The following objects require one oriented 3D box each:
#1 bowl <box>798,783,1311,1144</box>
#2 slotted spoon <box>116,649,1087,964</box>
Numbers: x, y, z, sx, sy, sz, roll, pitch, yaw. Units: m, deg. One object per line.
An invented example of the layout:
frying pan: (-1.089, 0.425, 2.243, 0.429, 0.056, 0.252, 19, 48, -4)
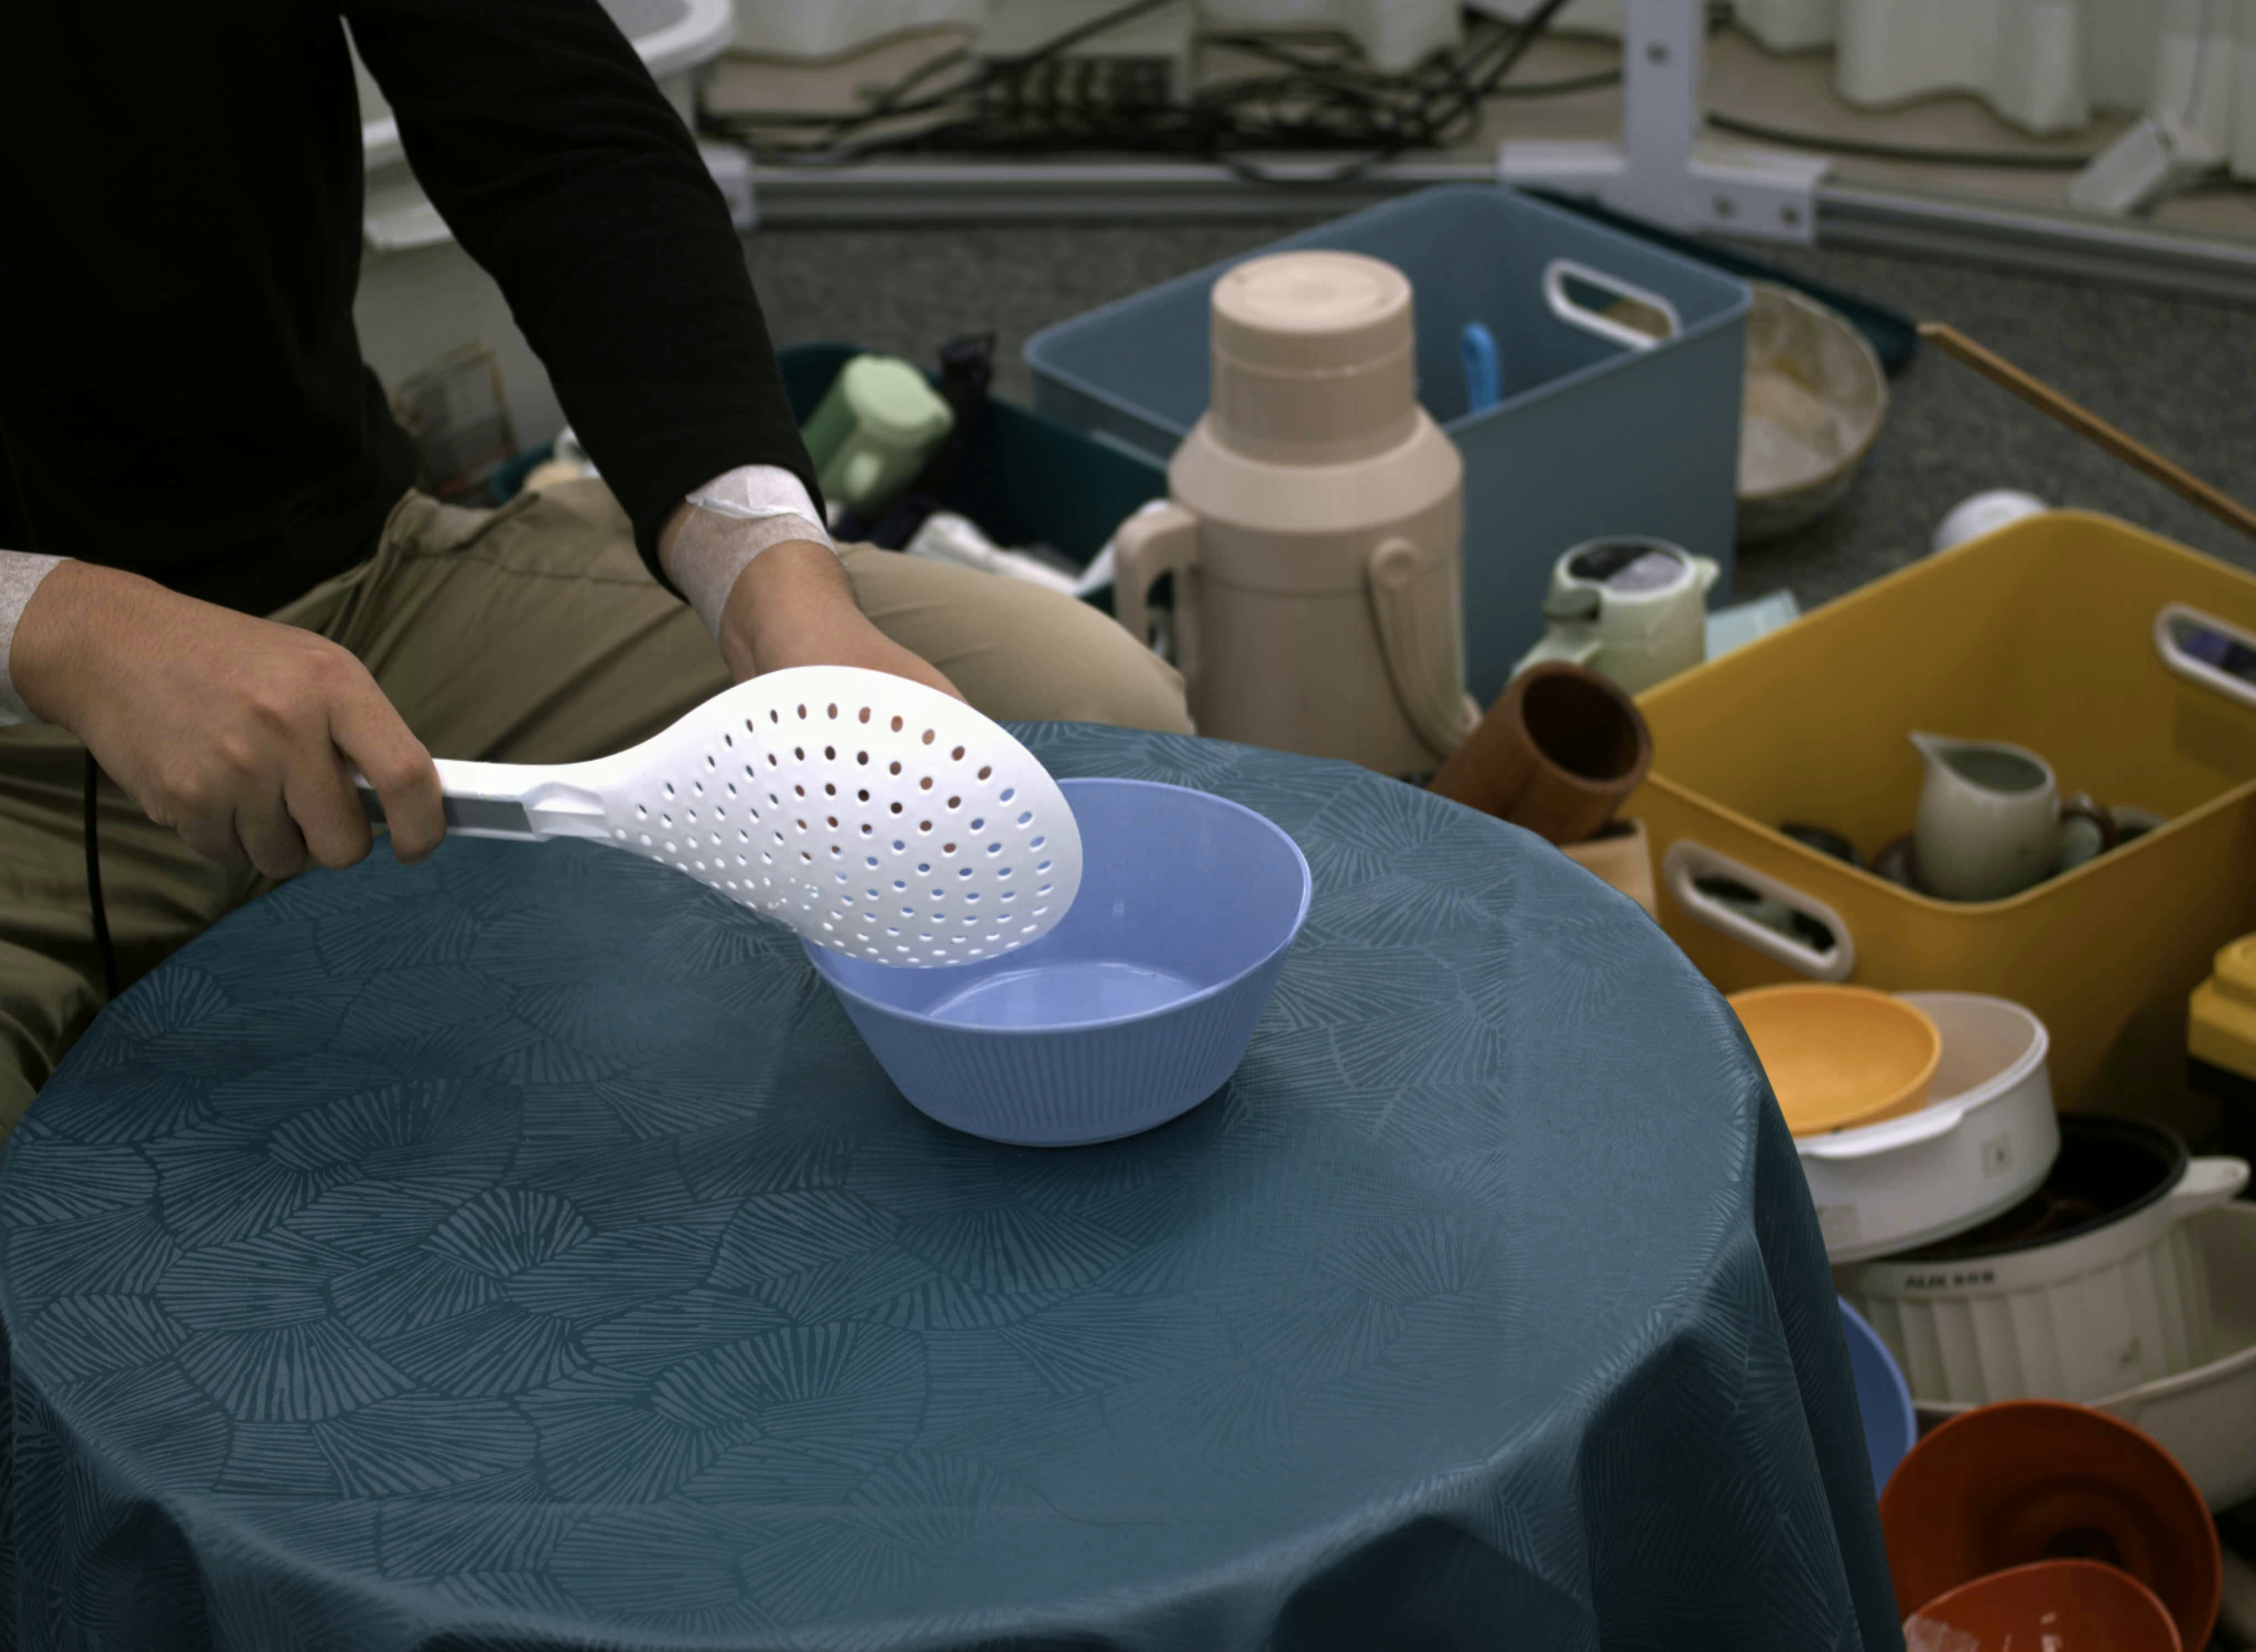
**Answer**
bowl: (-0.023, 0.052, 1.921, 0.175, 0.069, 0.178, -3, 26, 2)
slotted spoon: (-0.182, -0.009, 1.881, 0.347, 0.134, 0.046, 8, 45, 22)
